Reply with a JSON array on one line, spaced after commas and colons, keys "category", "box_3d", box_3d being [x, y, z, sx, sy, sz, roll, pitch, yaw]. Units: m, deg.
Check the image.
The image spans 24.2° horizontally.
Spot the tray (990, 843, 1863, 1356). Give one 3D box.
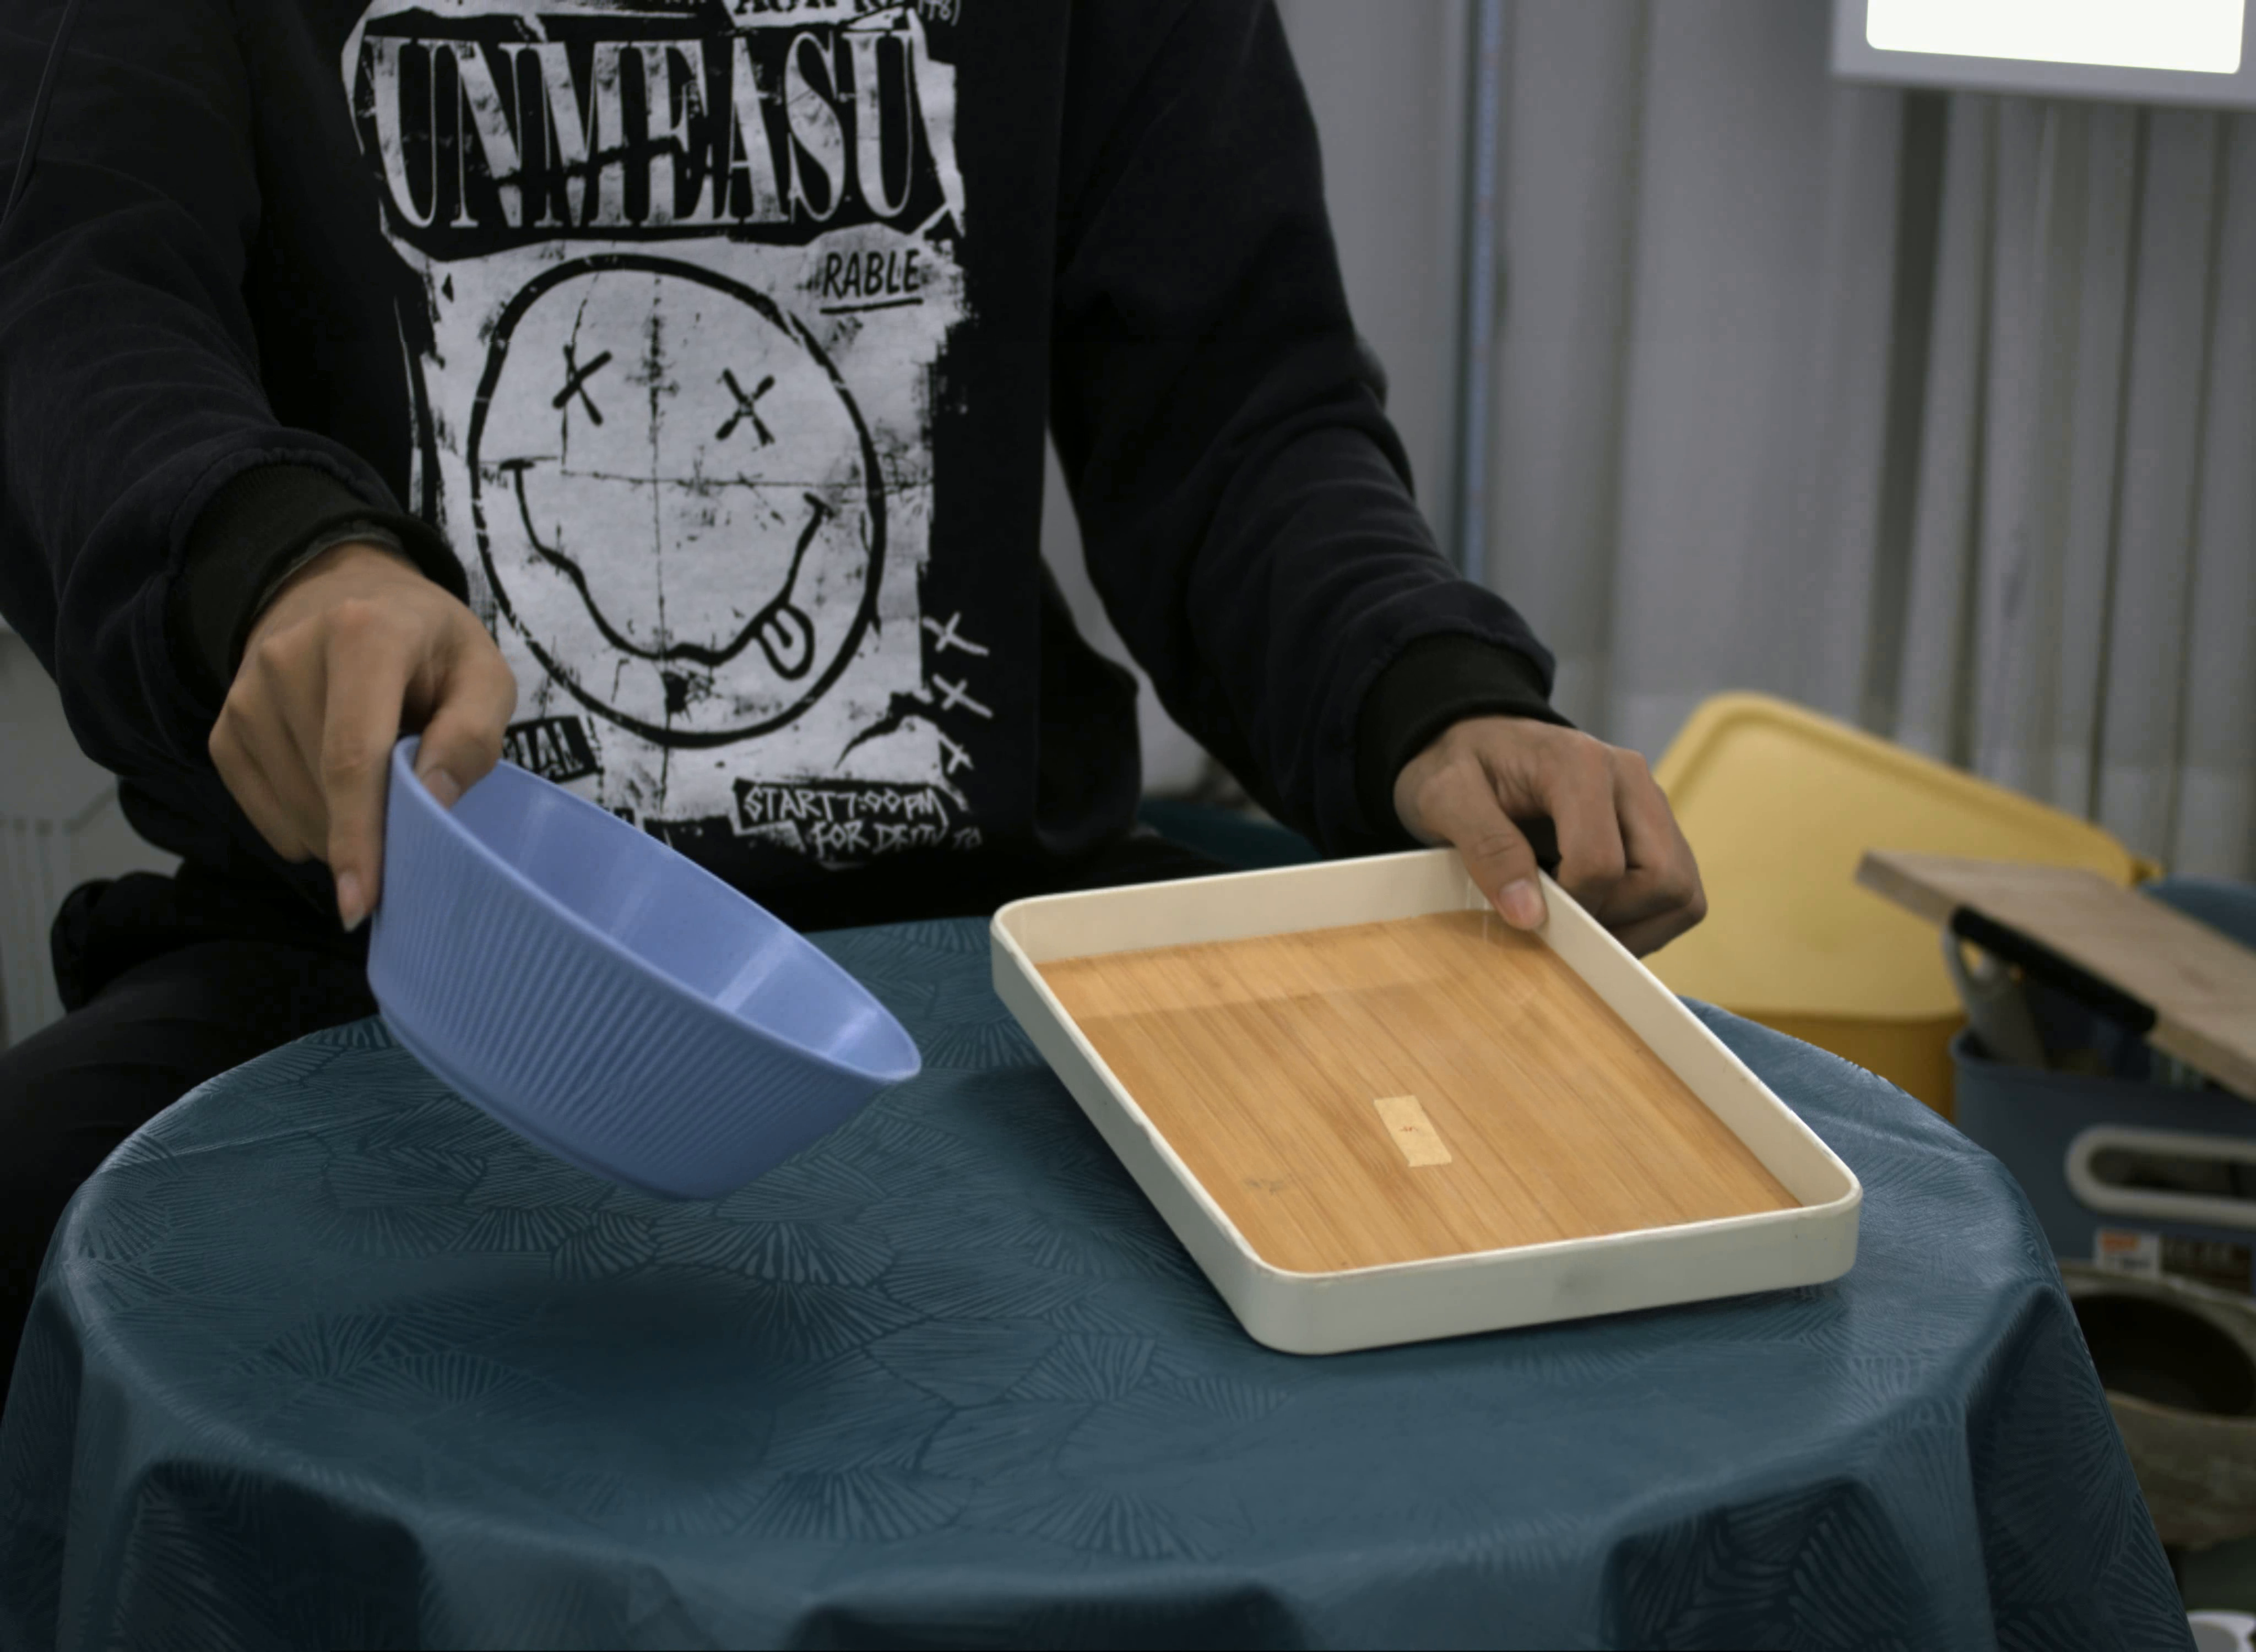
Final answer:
[{"category": "tray", "box_3d": [0.085, 0.079, 1.639, 0.192, 0.027, 0.297, -6, 23, -17]}]

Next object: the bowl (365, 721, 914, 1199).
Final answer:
[{"category": "bowl", "box_3d": [-0.150, 0.047, 1.496, 0.176, 0.070, 0.175, 35, 7, -4]}]
